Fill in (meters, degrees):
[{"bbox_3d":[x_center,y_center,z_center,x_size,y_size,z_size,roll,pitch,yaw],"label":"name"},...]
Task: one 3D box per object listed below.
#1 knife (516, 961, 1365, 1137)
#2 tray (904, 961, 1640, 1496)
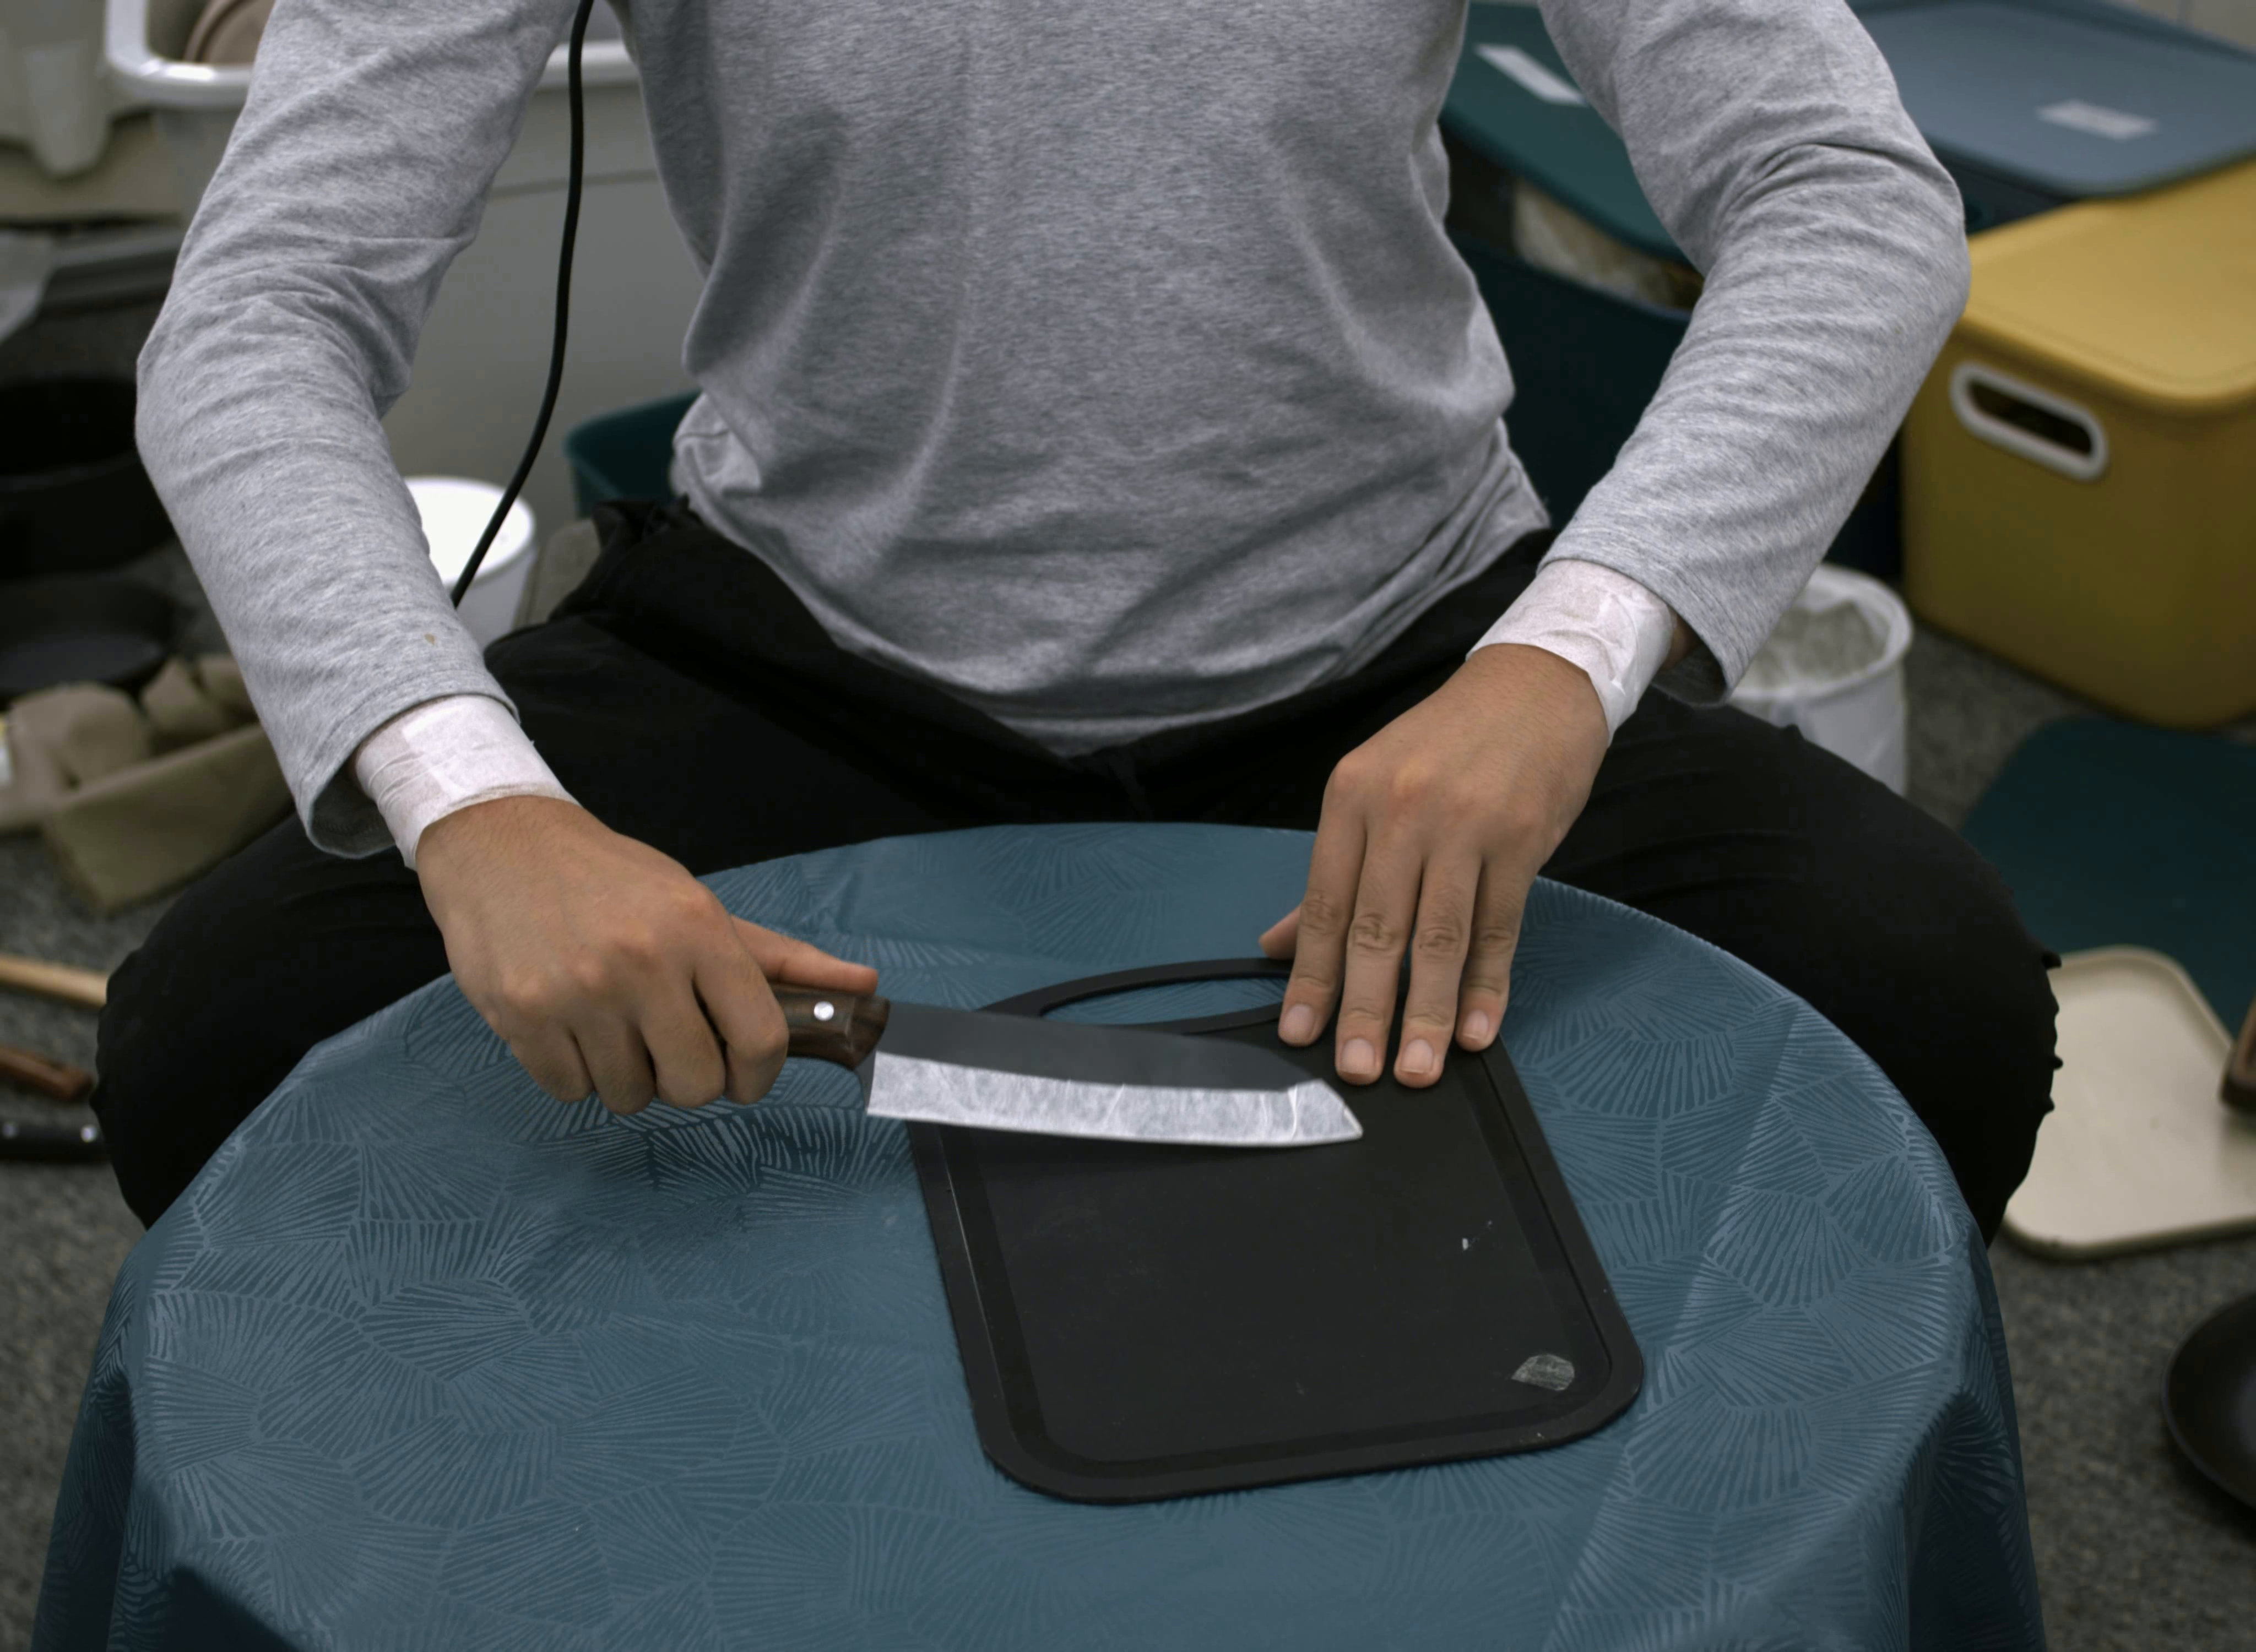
[{"bbox_3d":[-0.063,0.076,1.879,0.288,0.019,0.051,8,58,-1],"label":"knife"},{"bbox_3d":[0.039,0.123,1.849,0.210,0.009,0.329,-6,27,-6],"label":"tray"}]
